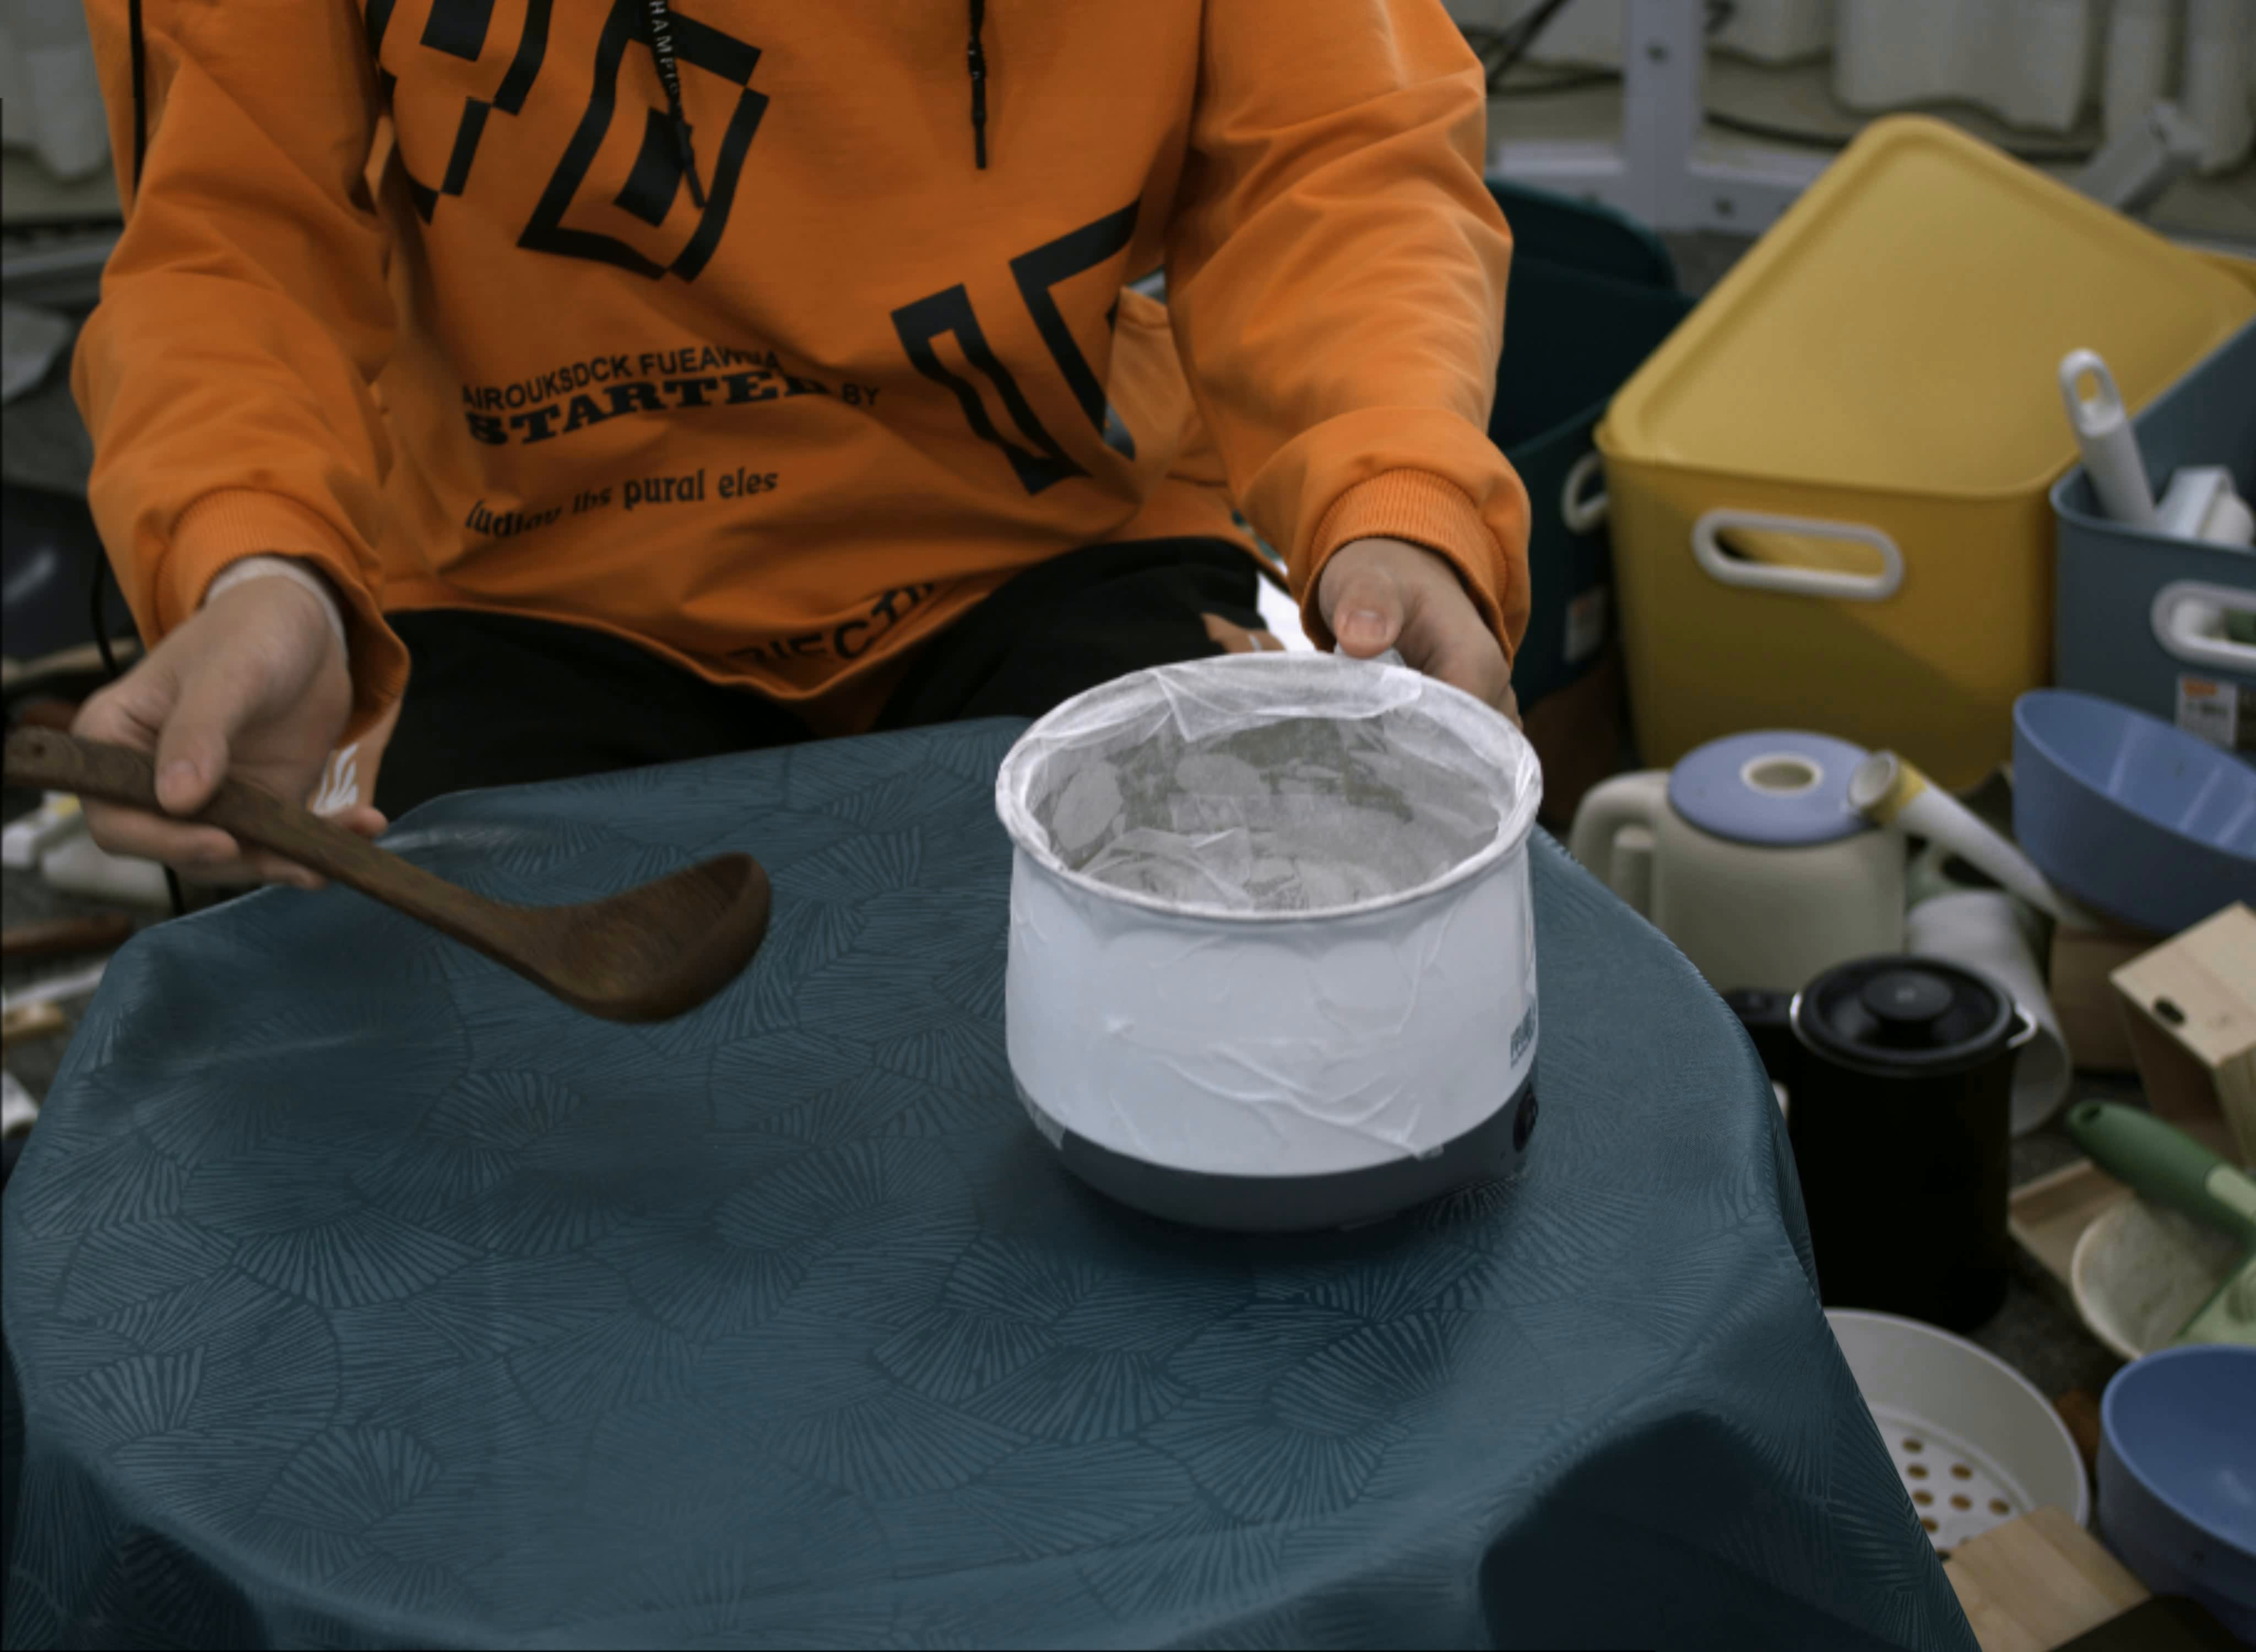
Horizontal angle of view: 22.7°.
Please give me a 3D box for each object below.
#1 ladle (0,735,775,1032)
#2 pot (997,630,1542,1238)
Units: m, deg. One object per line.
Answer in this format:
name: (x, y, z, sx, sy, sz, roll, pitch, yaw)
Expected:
ladle: (-0.250, 0.001, 1.859, 0.273, 0.070, 0.077, 21, 35, 4)
pot: (0.055, 0.028, 1.869, 0.177, 0.135, 0.238, 8, 30, 16)
